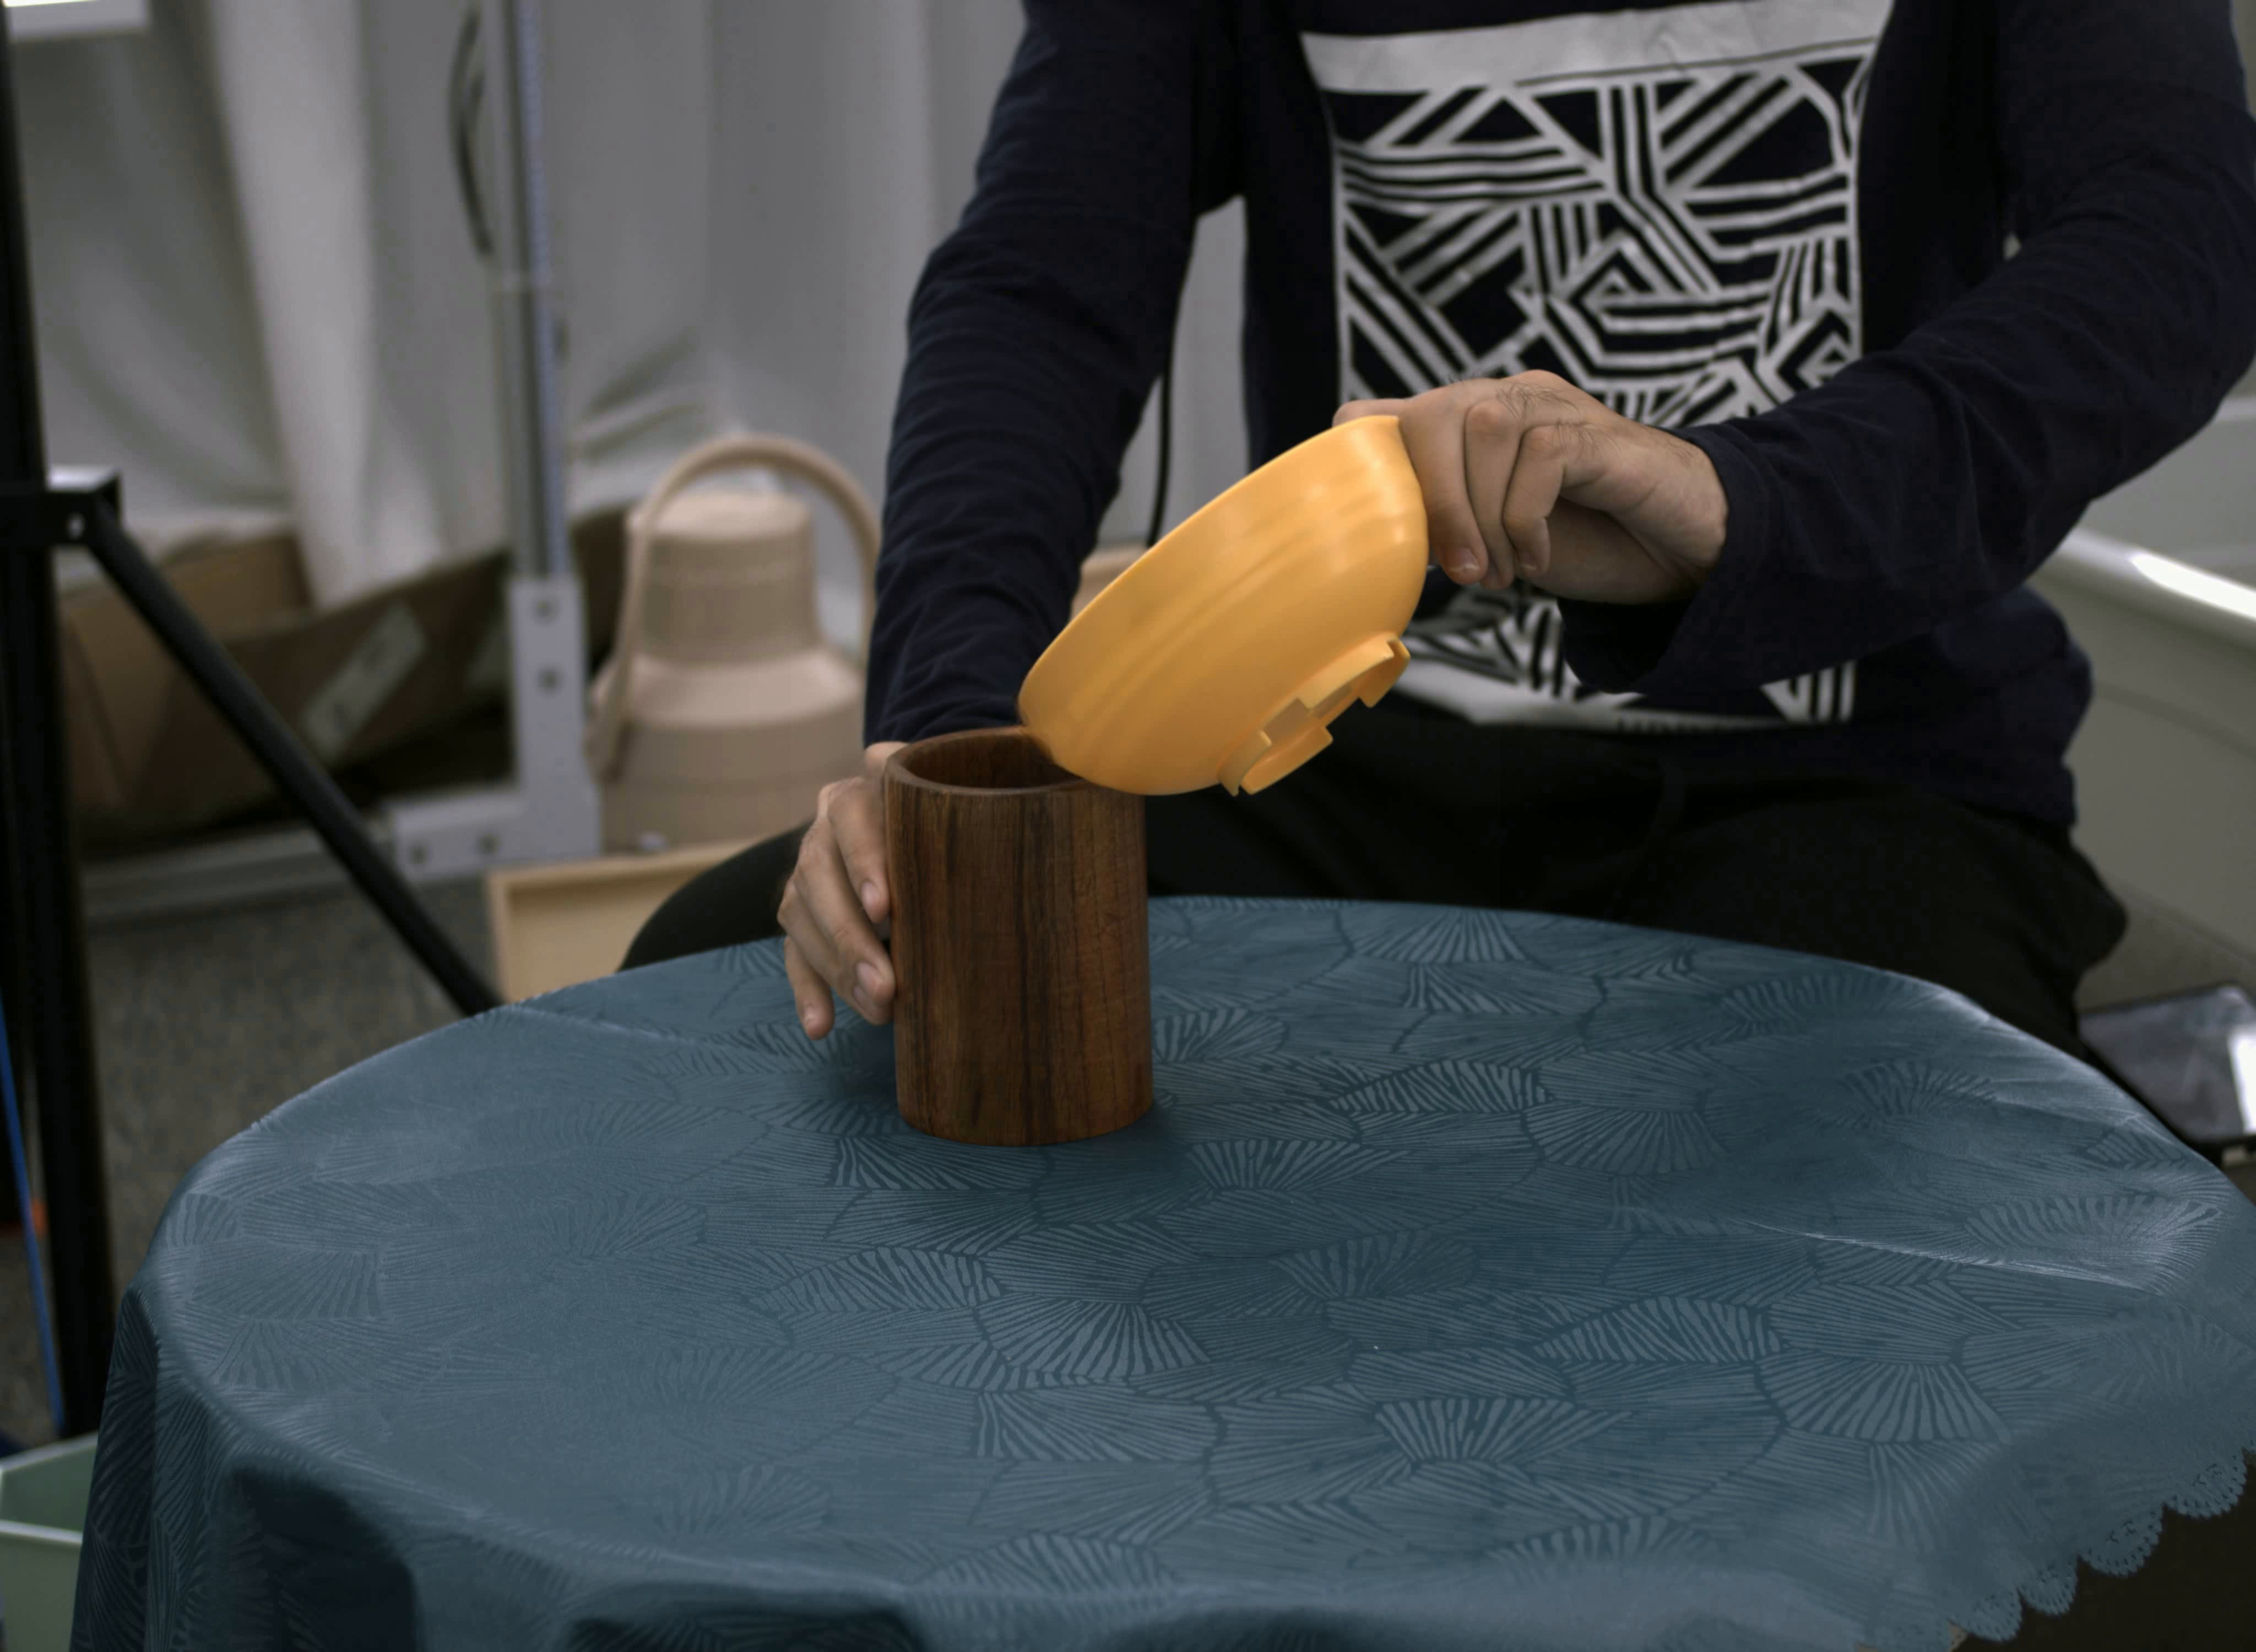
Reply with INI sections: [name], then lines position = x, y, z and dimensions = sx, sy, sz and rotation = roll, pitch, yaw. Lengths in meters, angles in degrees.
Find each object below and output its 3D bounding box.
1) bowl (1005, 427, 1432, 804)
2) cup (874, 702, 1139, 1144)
[bowl]
position = 0.039, -0.049, 1.556
dimensions = 0.144, 0.060, 0.145
rotation = -35, -11, -10
[cup]
position = -0.037, 0.029, 1.630
dimensions = 0.087, 0.118, 0.088
rotation = 1, 16, -2
